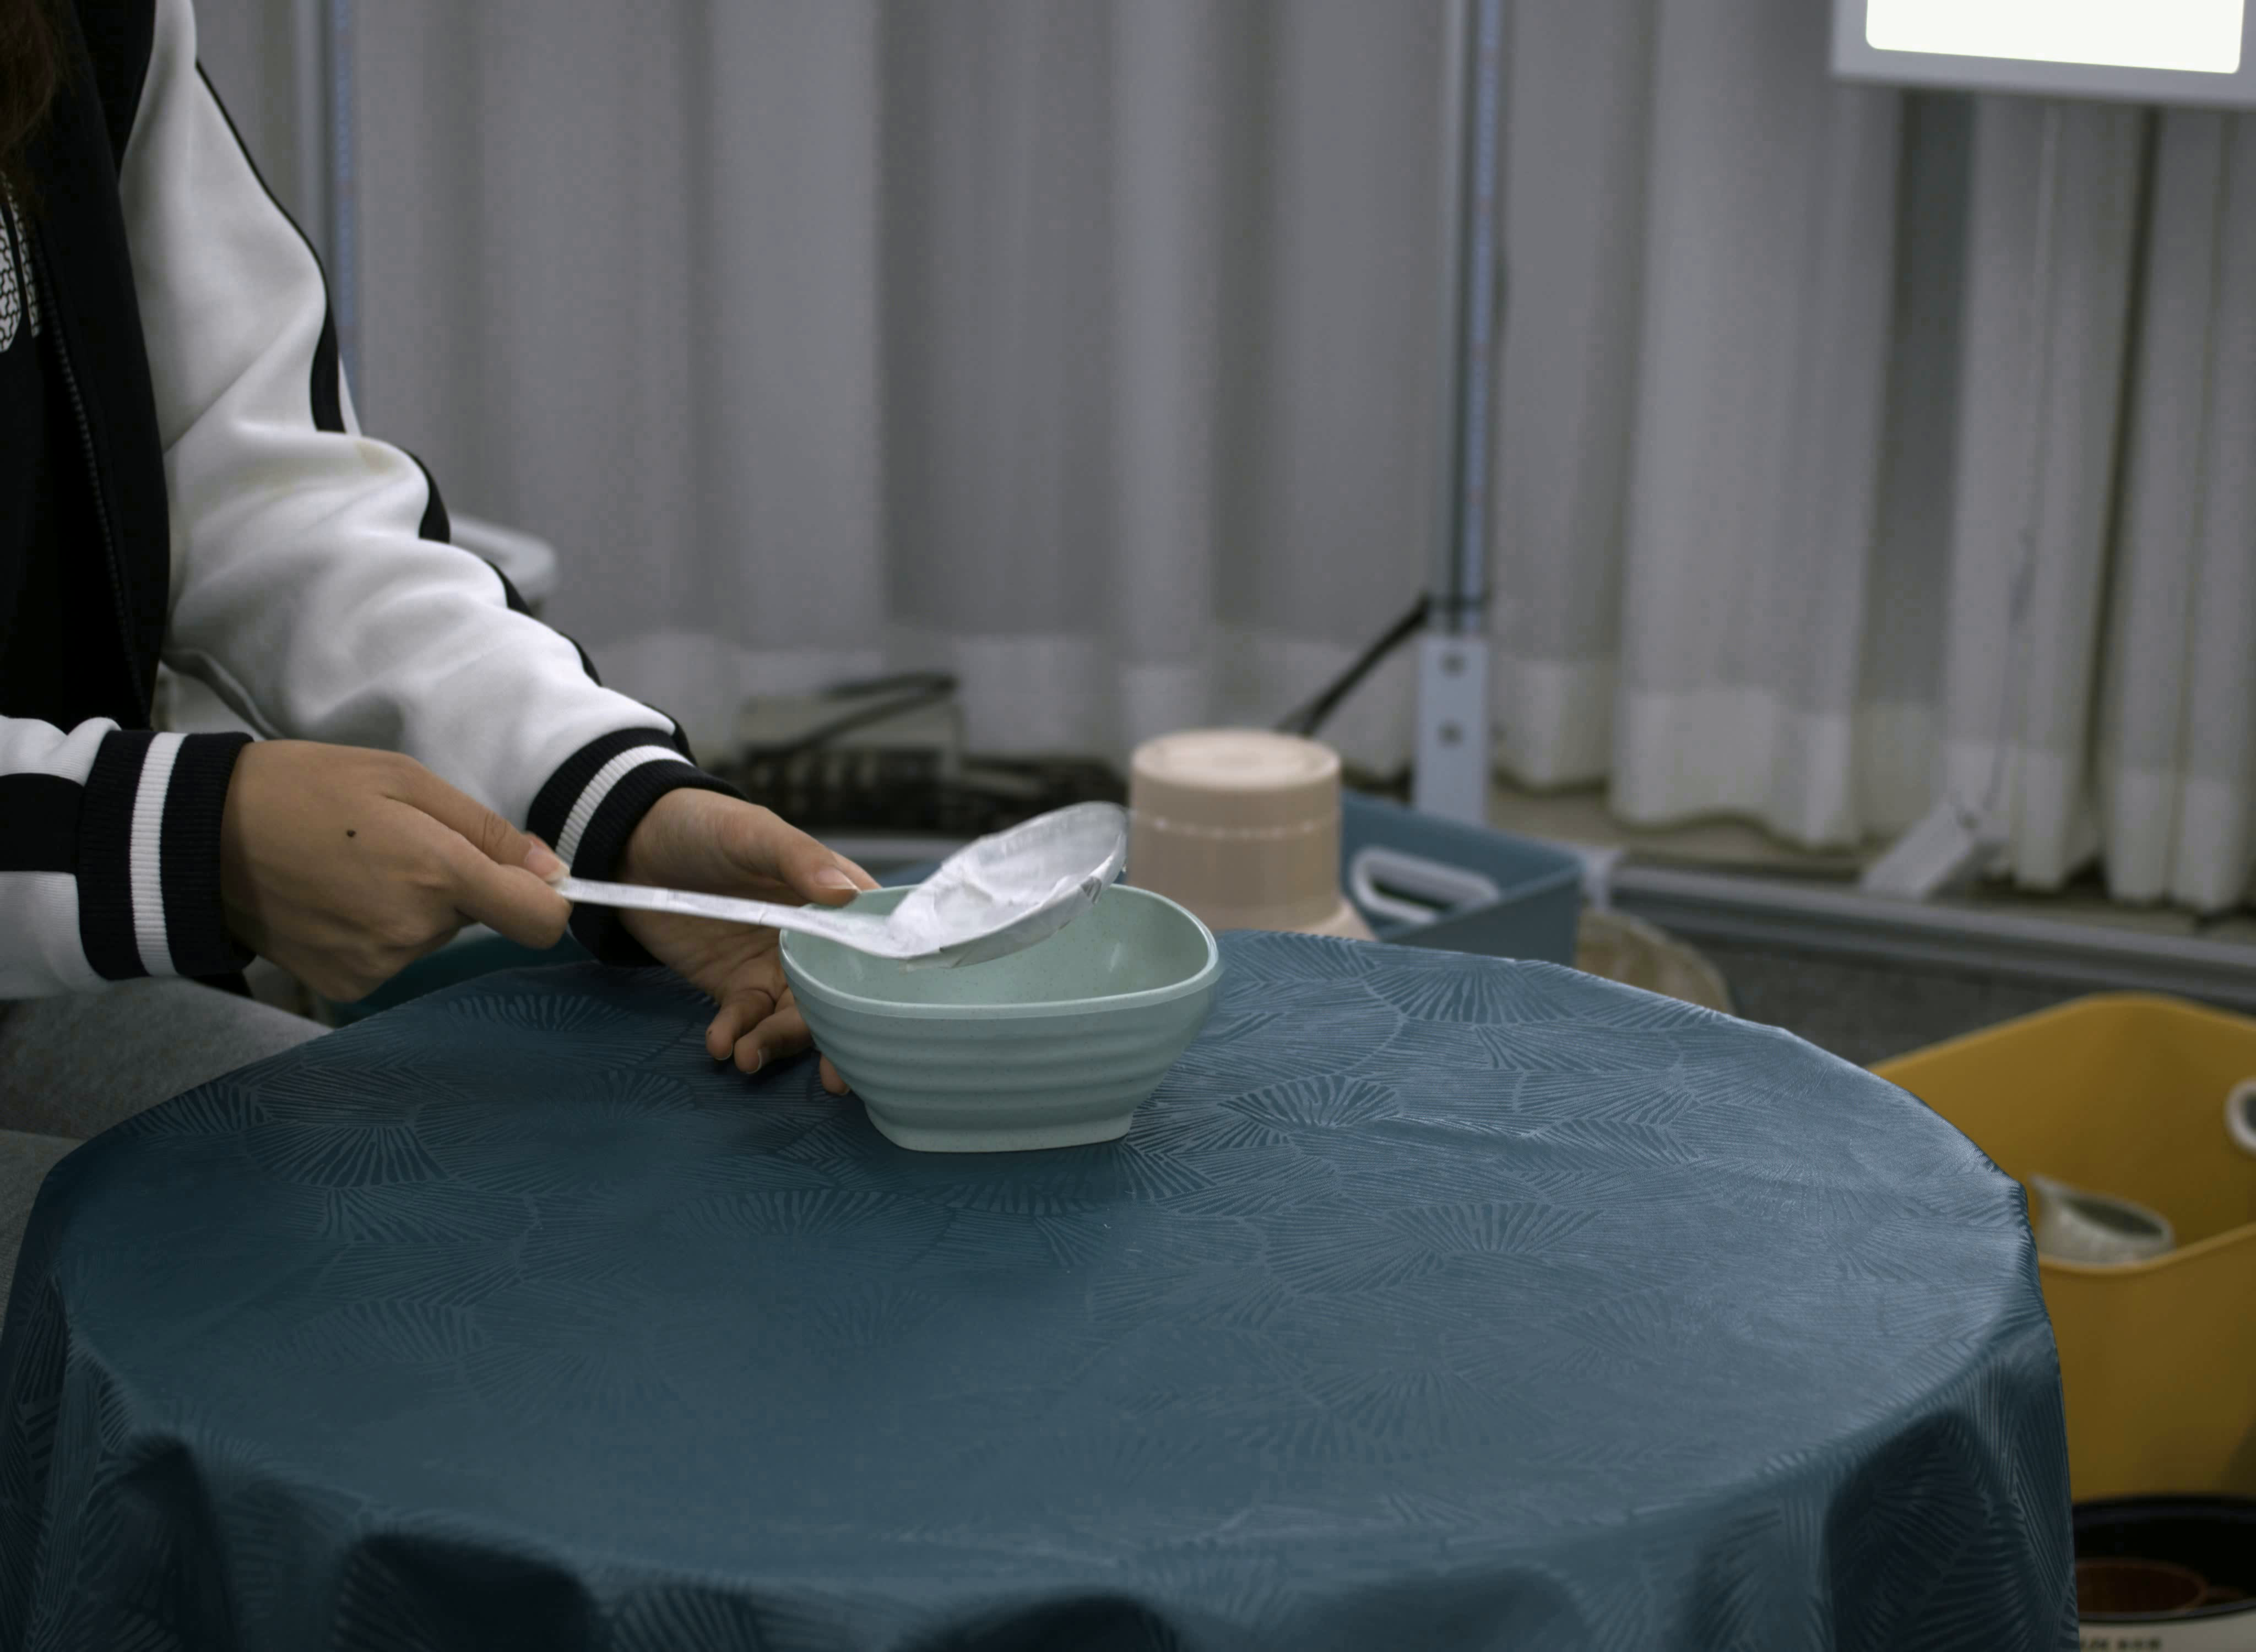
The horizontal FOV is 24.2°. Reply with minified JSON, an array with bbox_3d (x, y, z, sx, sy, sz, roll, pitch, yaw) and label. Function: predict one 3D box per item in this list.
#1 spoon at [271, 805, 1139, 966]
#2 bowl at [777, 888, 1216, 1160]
[{"bbox_3d":[-0.135,-0.001,1.669,0.276,0.060,0.100,11,17,5],"label":"spoon"},{"bbox_3d":[-0.042,0.066,1.687,0.151,0.059,0.150,1,16,0],"label":"bowl"}]
